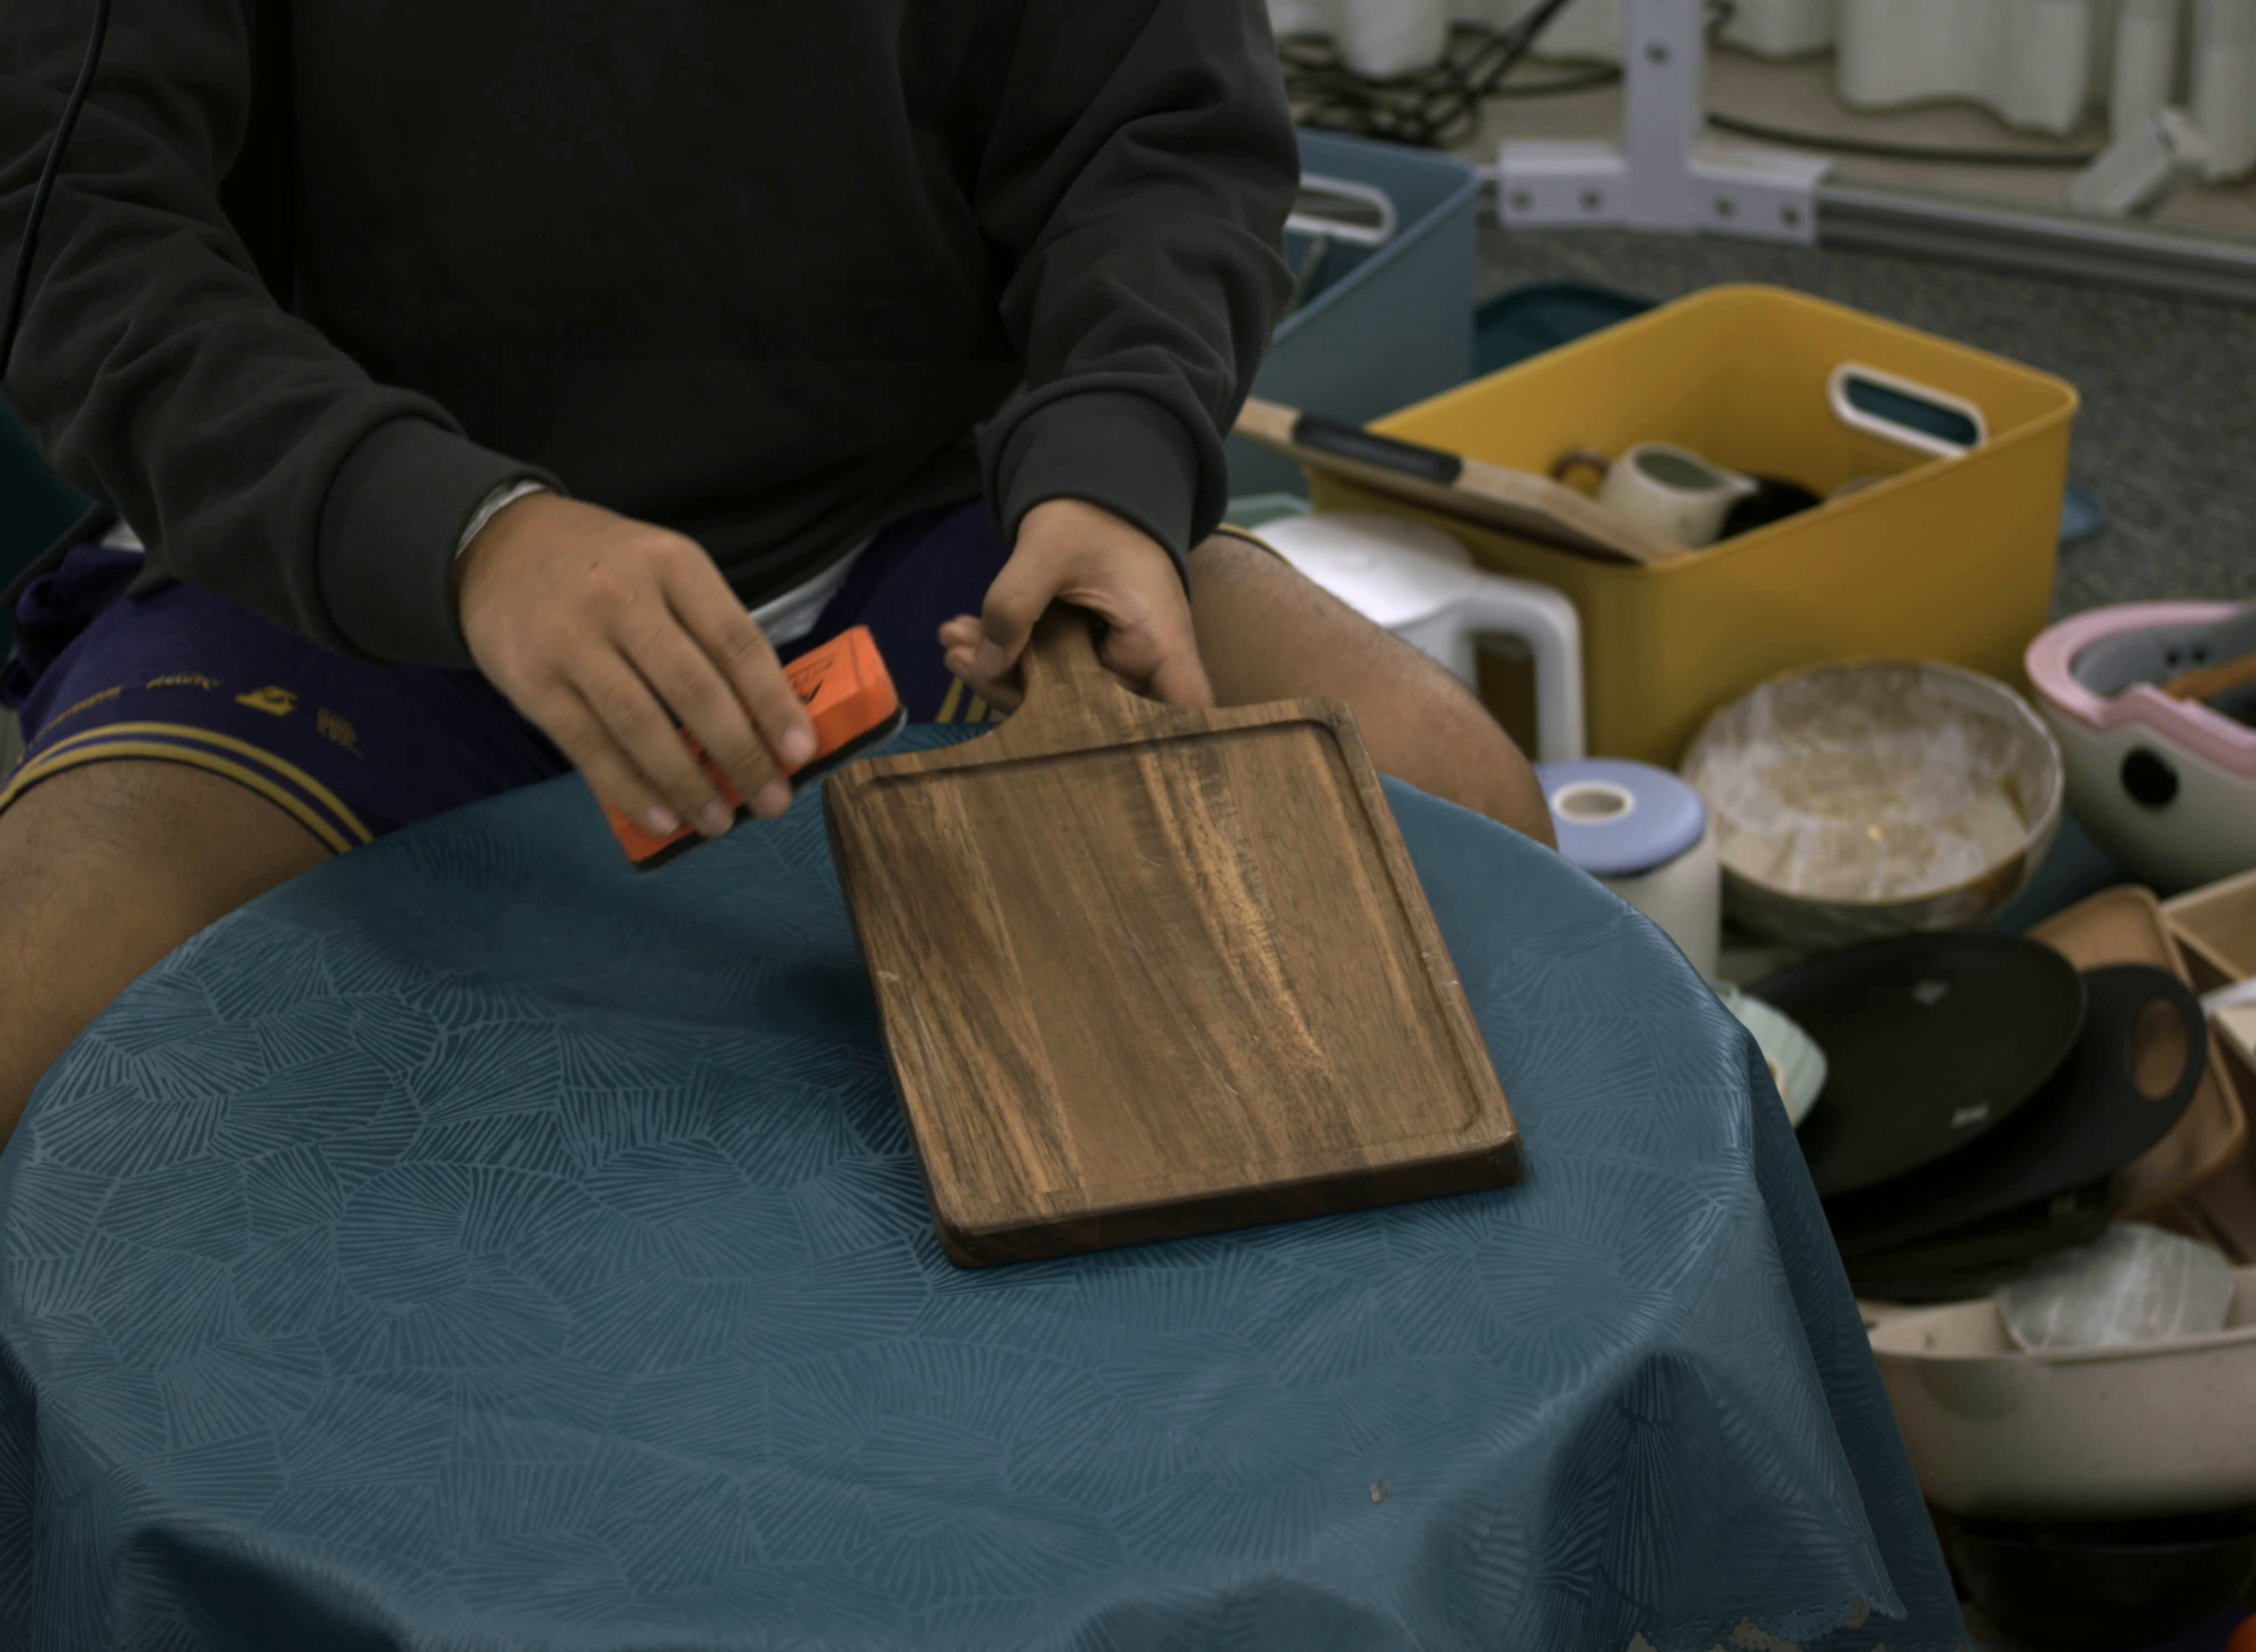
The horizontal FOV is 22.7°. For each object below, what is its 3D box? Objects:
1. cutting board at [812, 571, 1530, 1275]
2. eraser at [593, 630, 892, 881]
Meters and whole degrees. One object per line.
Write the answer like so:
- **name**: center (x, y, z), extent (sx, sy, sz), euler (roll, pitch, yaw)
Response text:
- **cutting board**: center (-0.001, 0.019, 1.967), extent (0.201, 0.023, 0.357), euler (-8, 39, -10)
- **eraser**: center (-0.133, -0.024, 1.938), extent (0.107, 0.023, 0.059), euler (-30, 22, 5)
